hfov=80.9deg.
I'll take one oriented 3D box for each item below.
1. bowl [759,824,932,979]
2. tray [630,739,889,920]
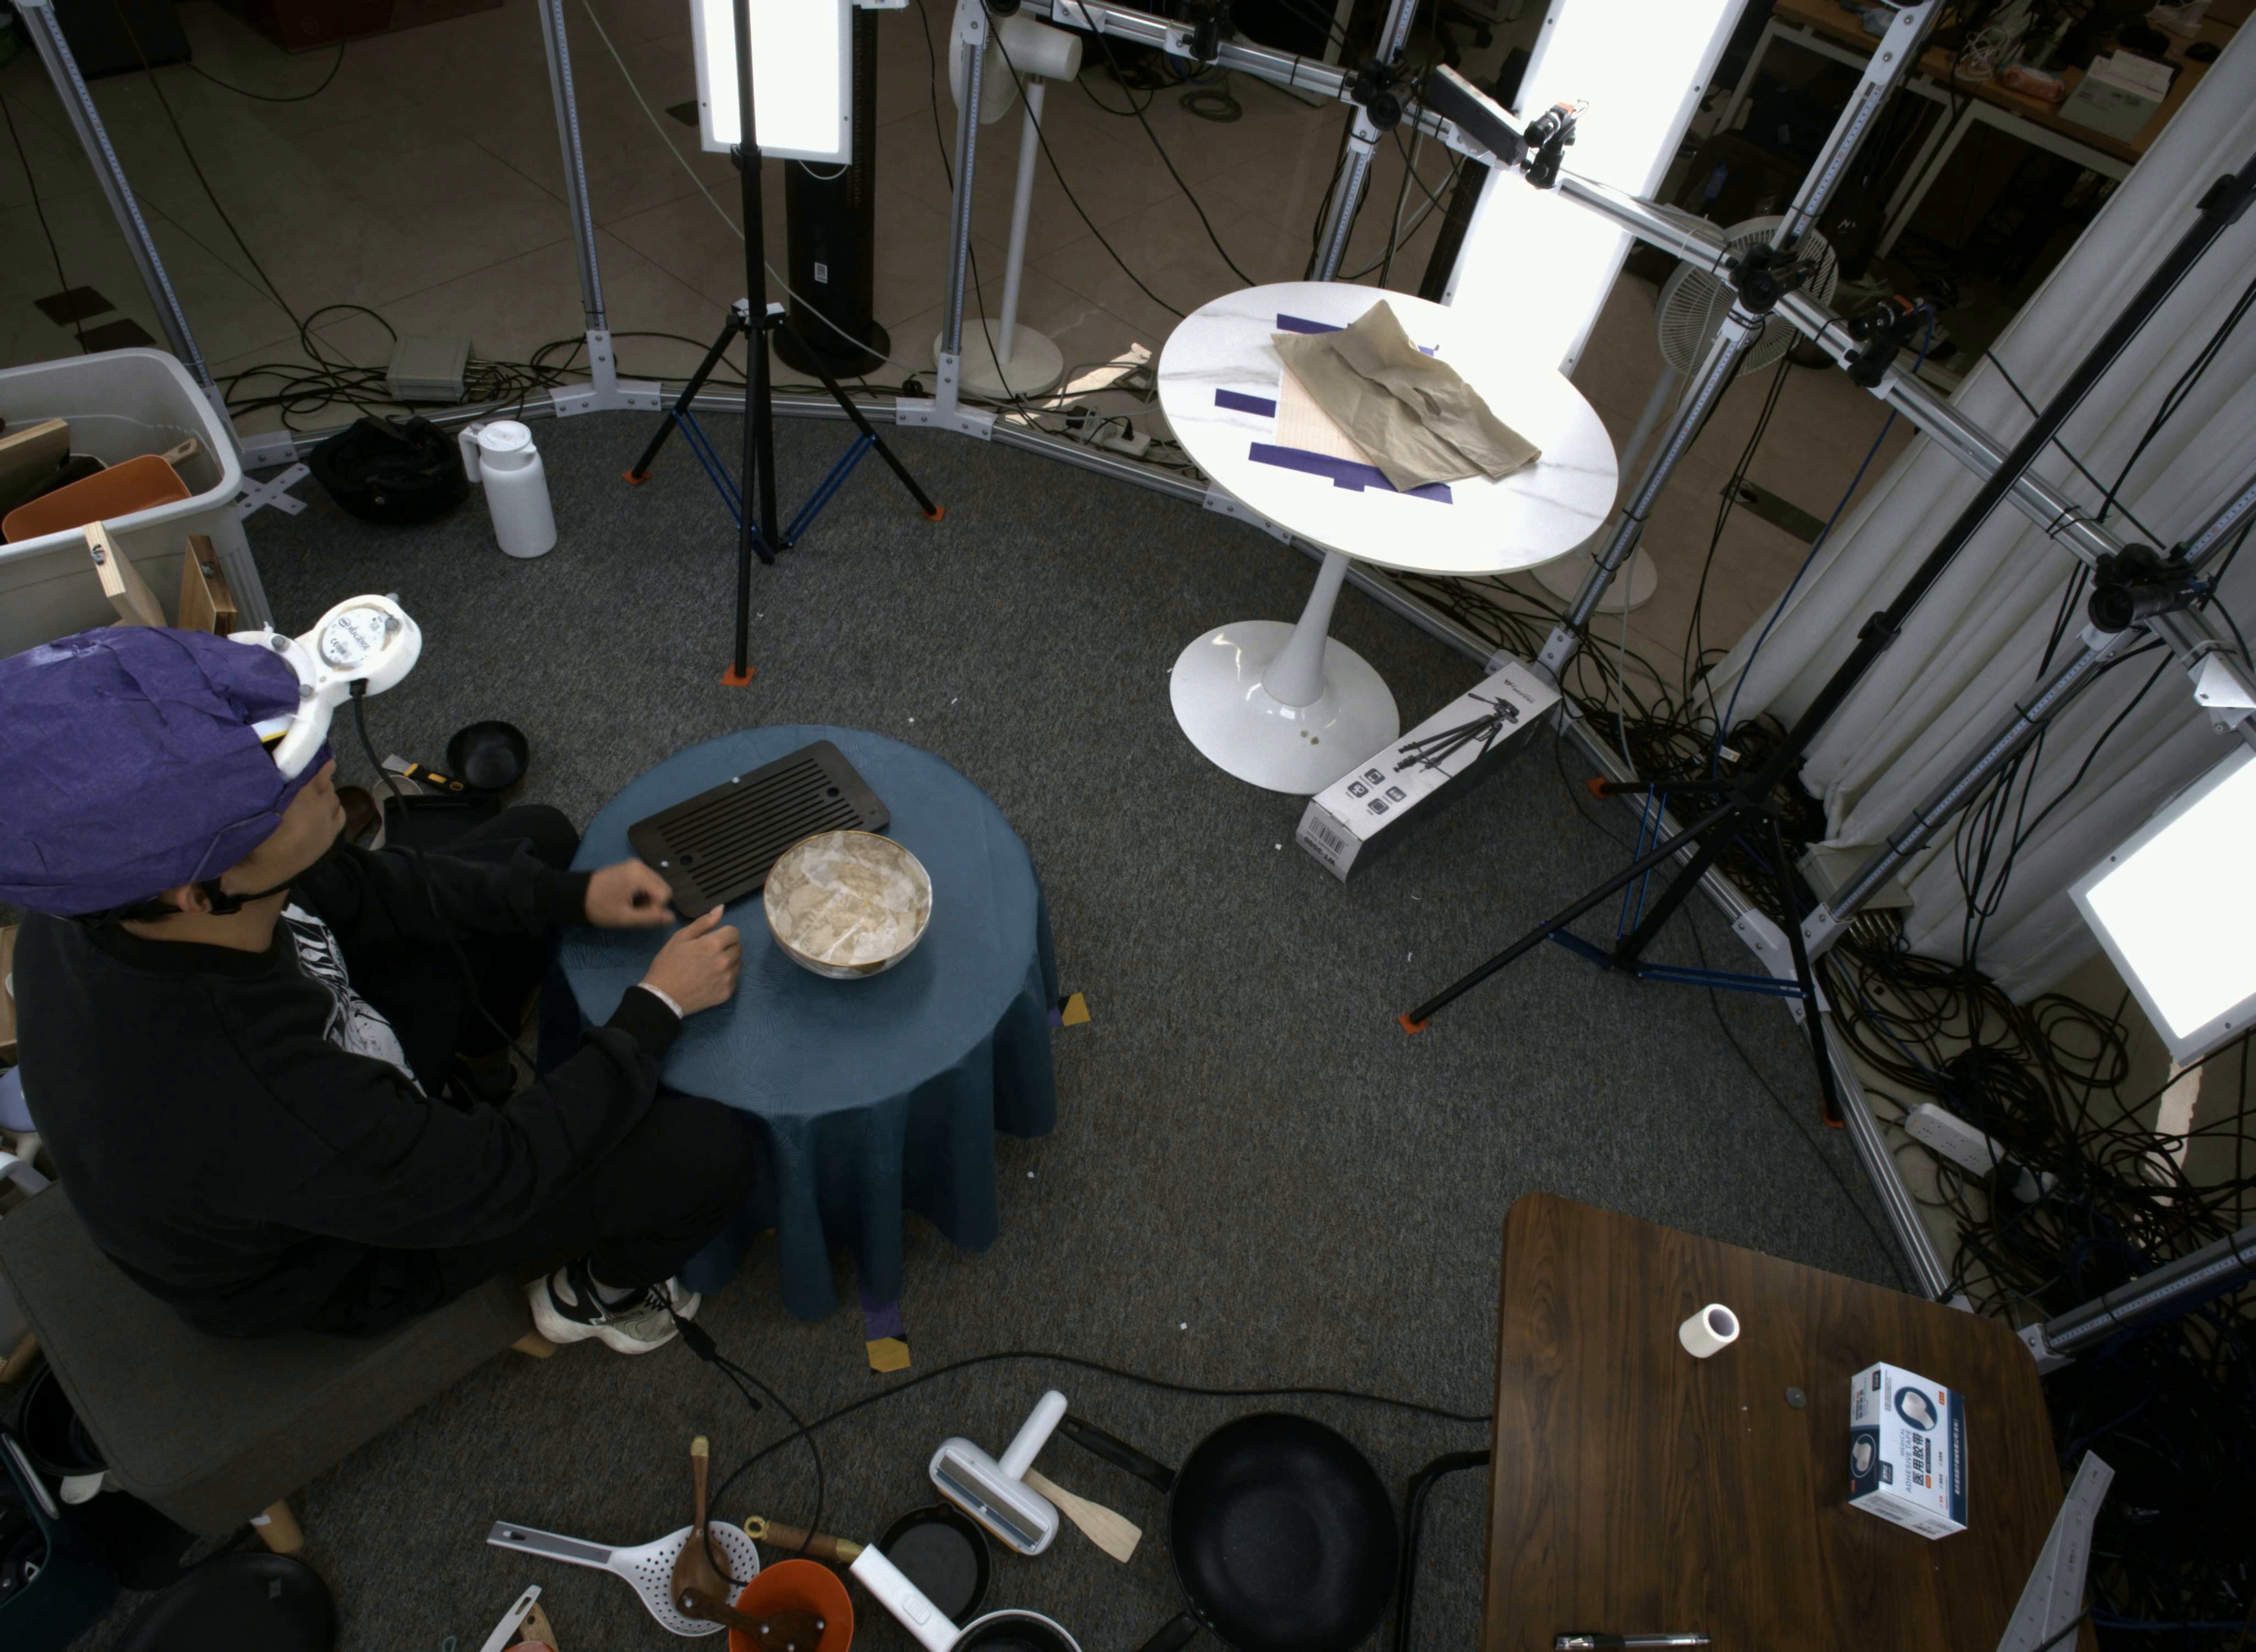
[{"bbox_3d":[-0.349,0.106,1.609,0.214,0.096,0.211,8,53,-9],"label":"bowl"},{"bbox_3d":[-0.483,-0.001,1.703,0.307,0.019,0.166,-29,66,-30],"label":"tray"}]
